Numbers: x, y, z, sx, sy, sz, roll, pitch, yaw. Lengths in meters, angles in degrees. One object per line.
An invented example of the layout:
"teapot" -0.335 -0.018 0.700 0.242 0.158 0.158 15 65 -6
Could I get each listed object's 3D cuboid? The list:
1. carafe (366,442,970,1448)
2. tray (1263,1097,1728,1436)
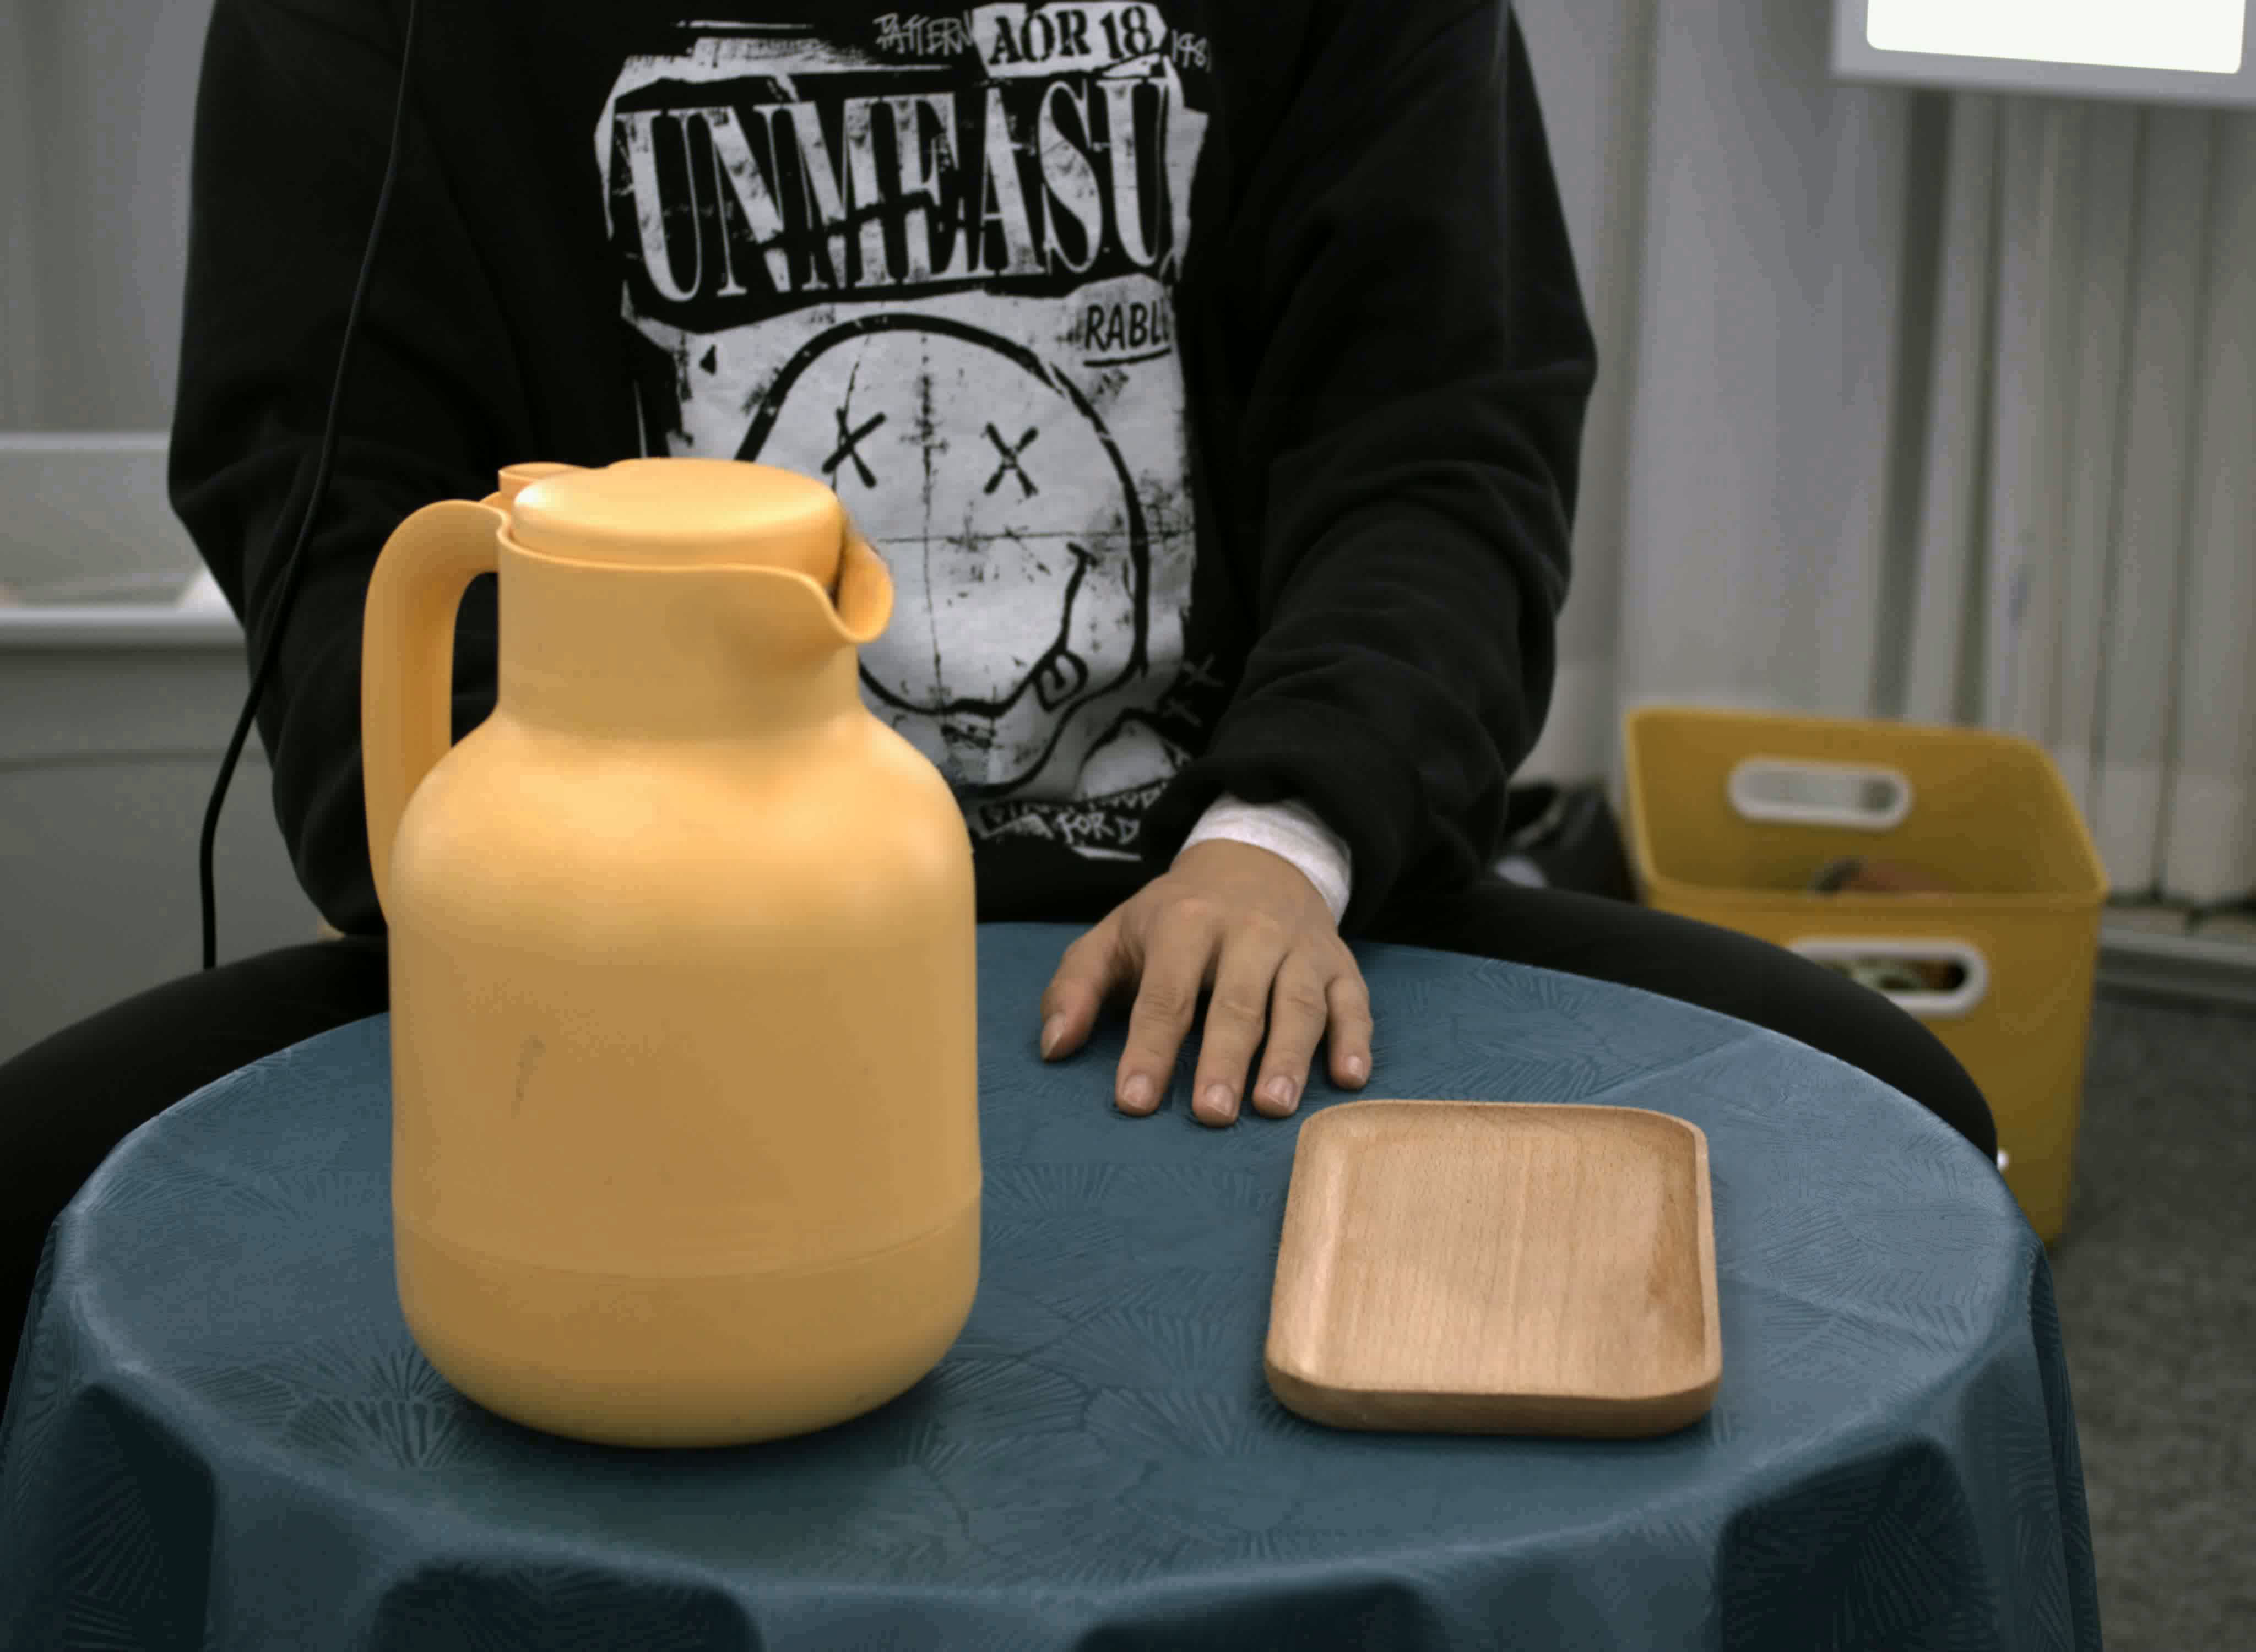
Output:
"carafe" -0.136 0.024 1.445 0.199 0.262 0.164 18 21 42
"tray" 0.109 0.126 1.544 0.130 0.023 0.250 4 15 5
